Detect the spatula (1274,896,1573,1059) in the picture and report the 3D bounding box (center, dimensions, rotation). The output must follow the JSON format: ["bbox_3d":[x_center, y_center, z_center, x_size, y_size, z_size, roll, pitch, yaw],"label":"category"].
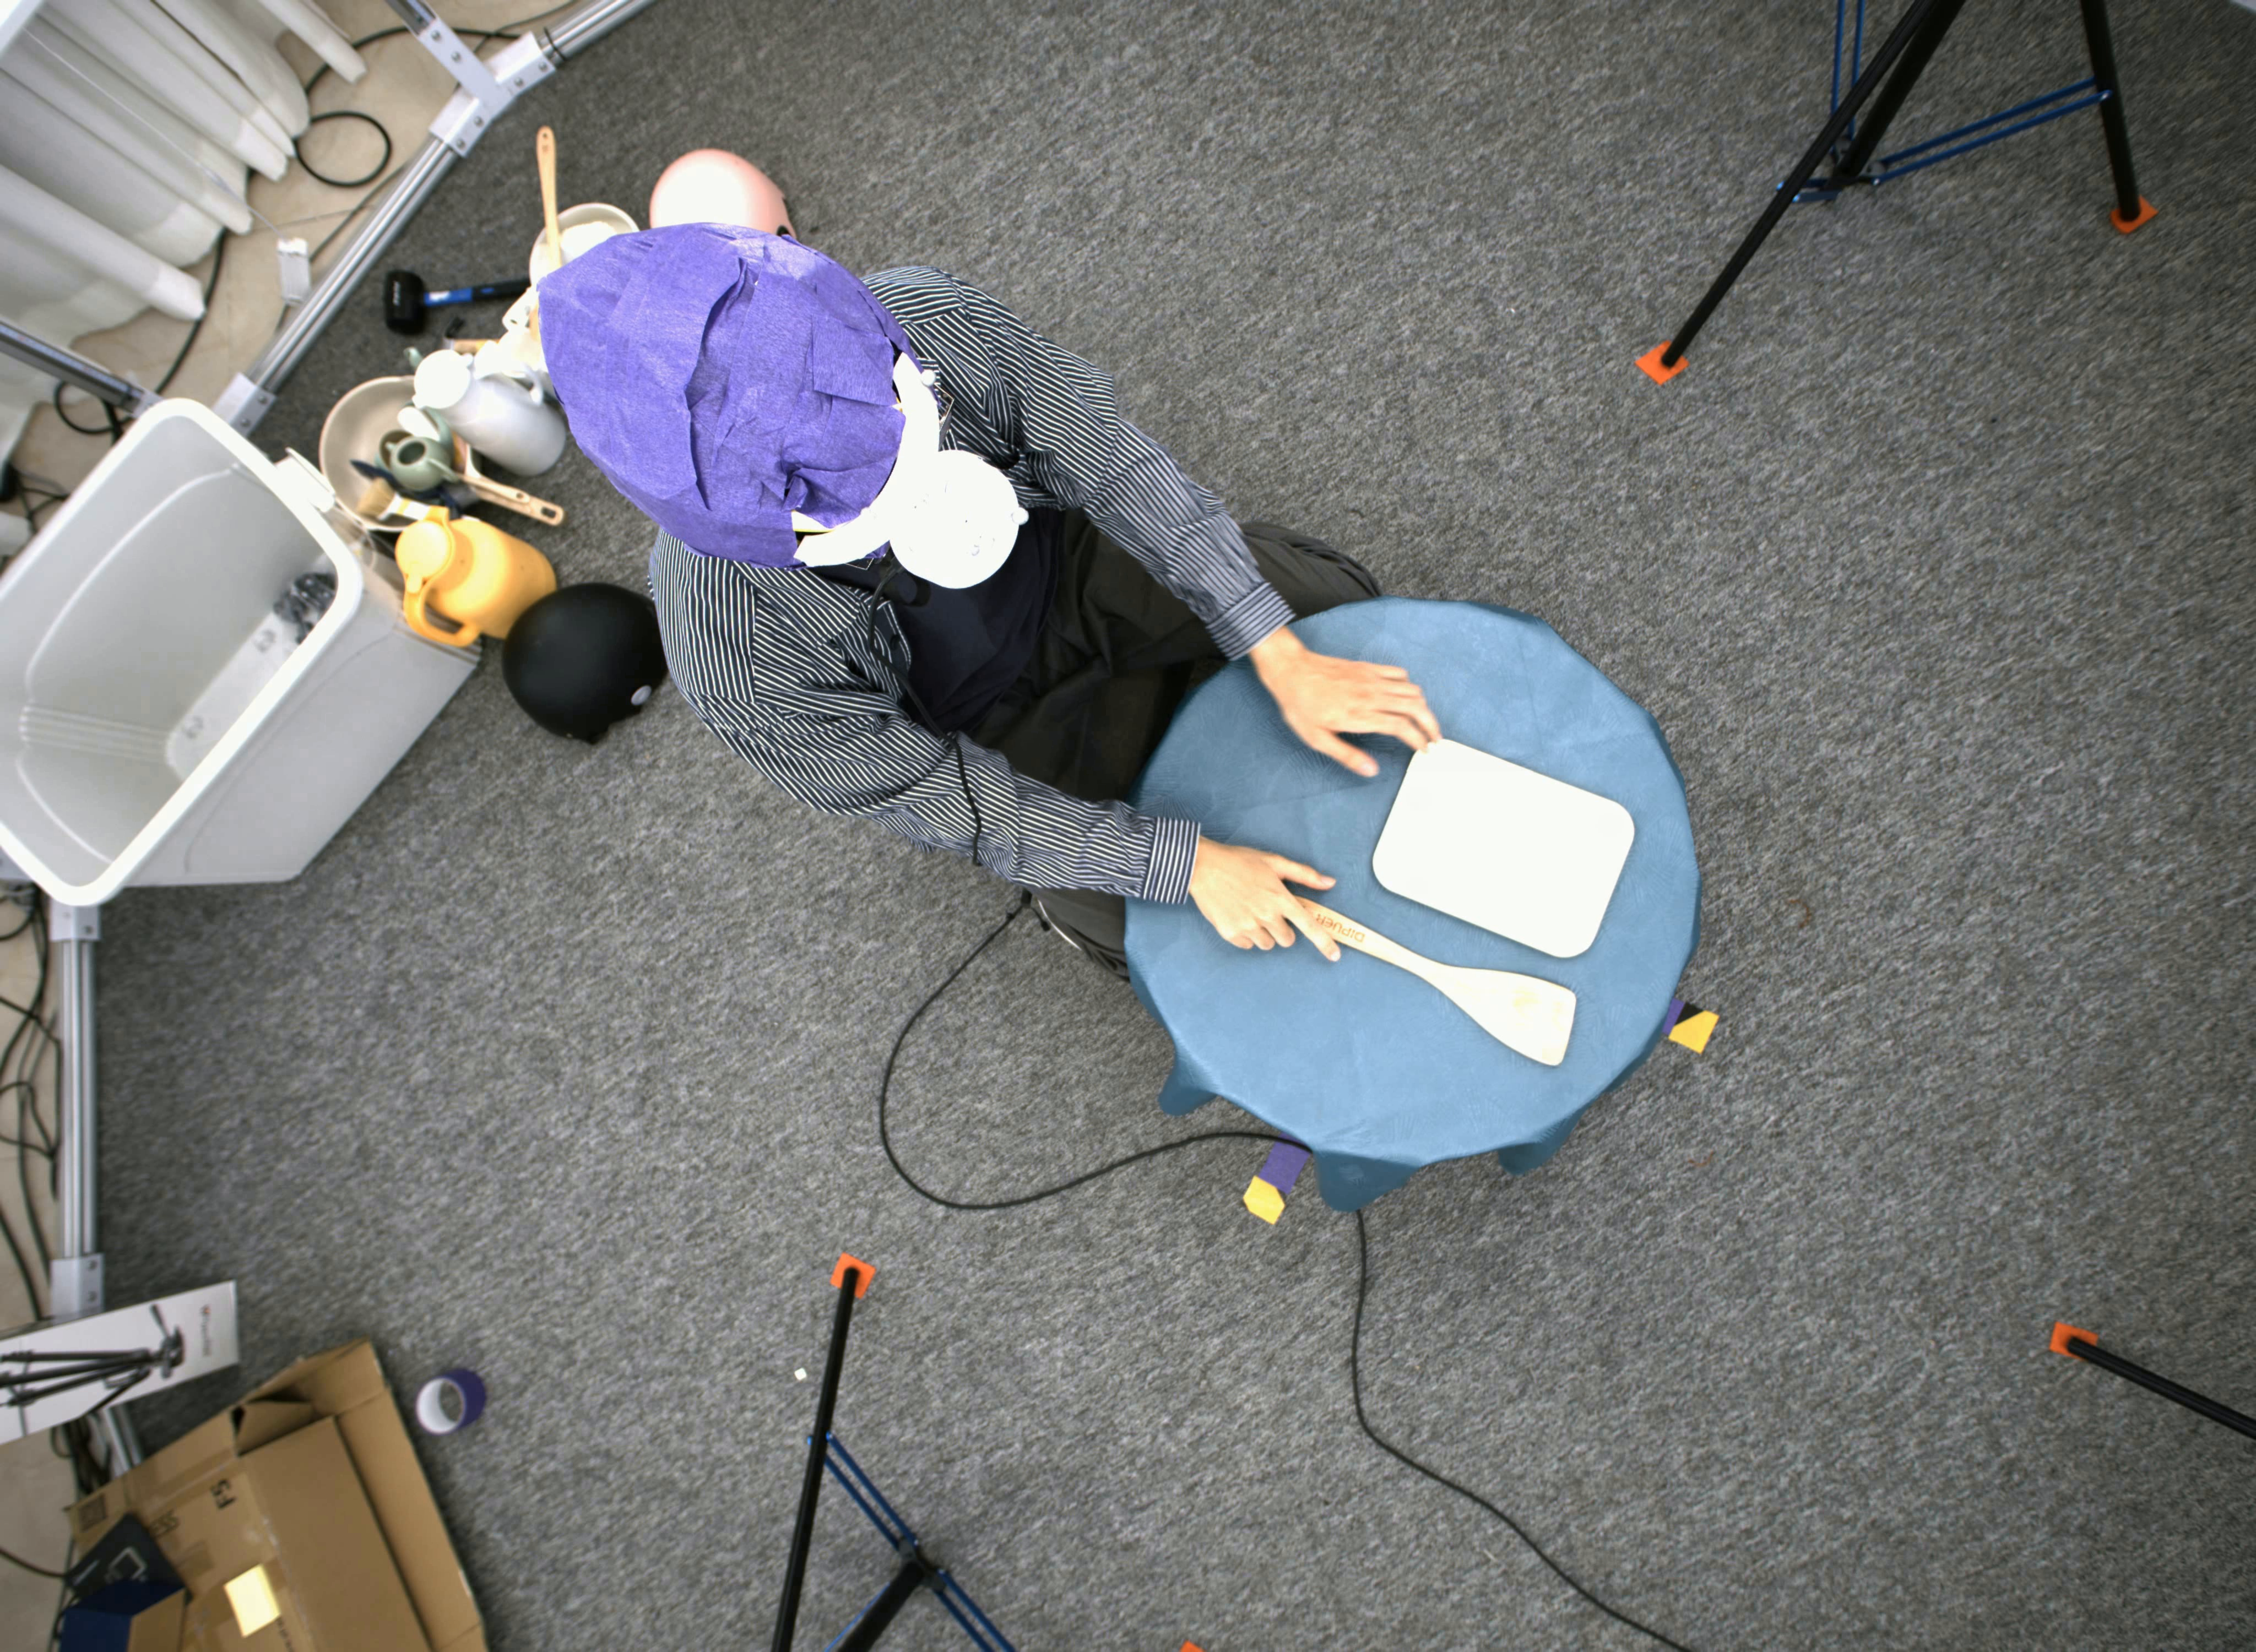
[{"bbox_3d":[0.304,0.141,1.431,0.327,0.016,0.080,23,91,10],"label":"spatula"}]

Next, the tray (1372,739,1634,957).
[{"bbox_3d":[0.386,0.019,1.421,0.239,0.017,0.171,22,91,10],"label":"tray"}]
